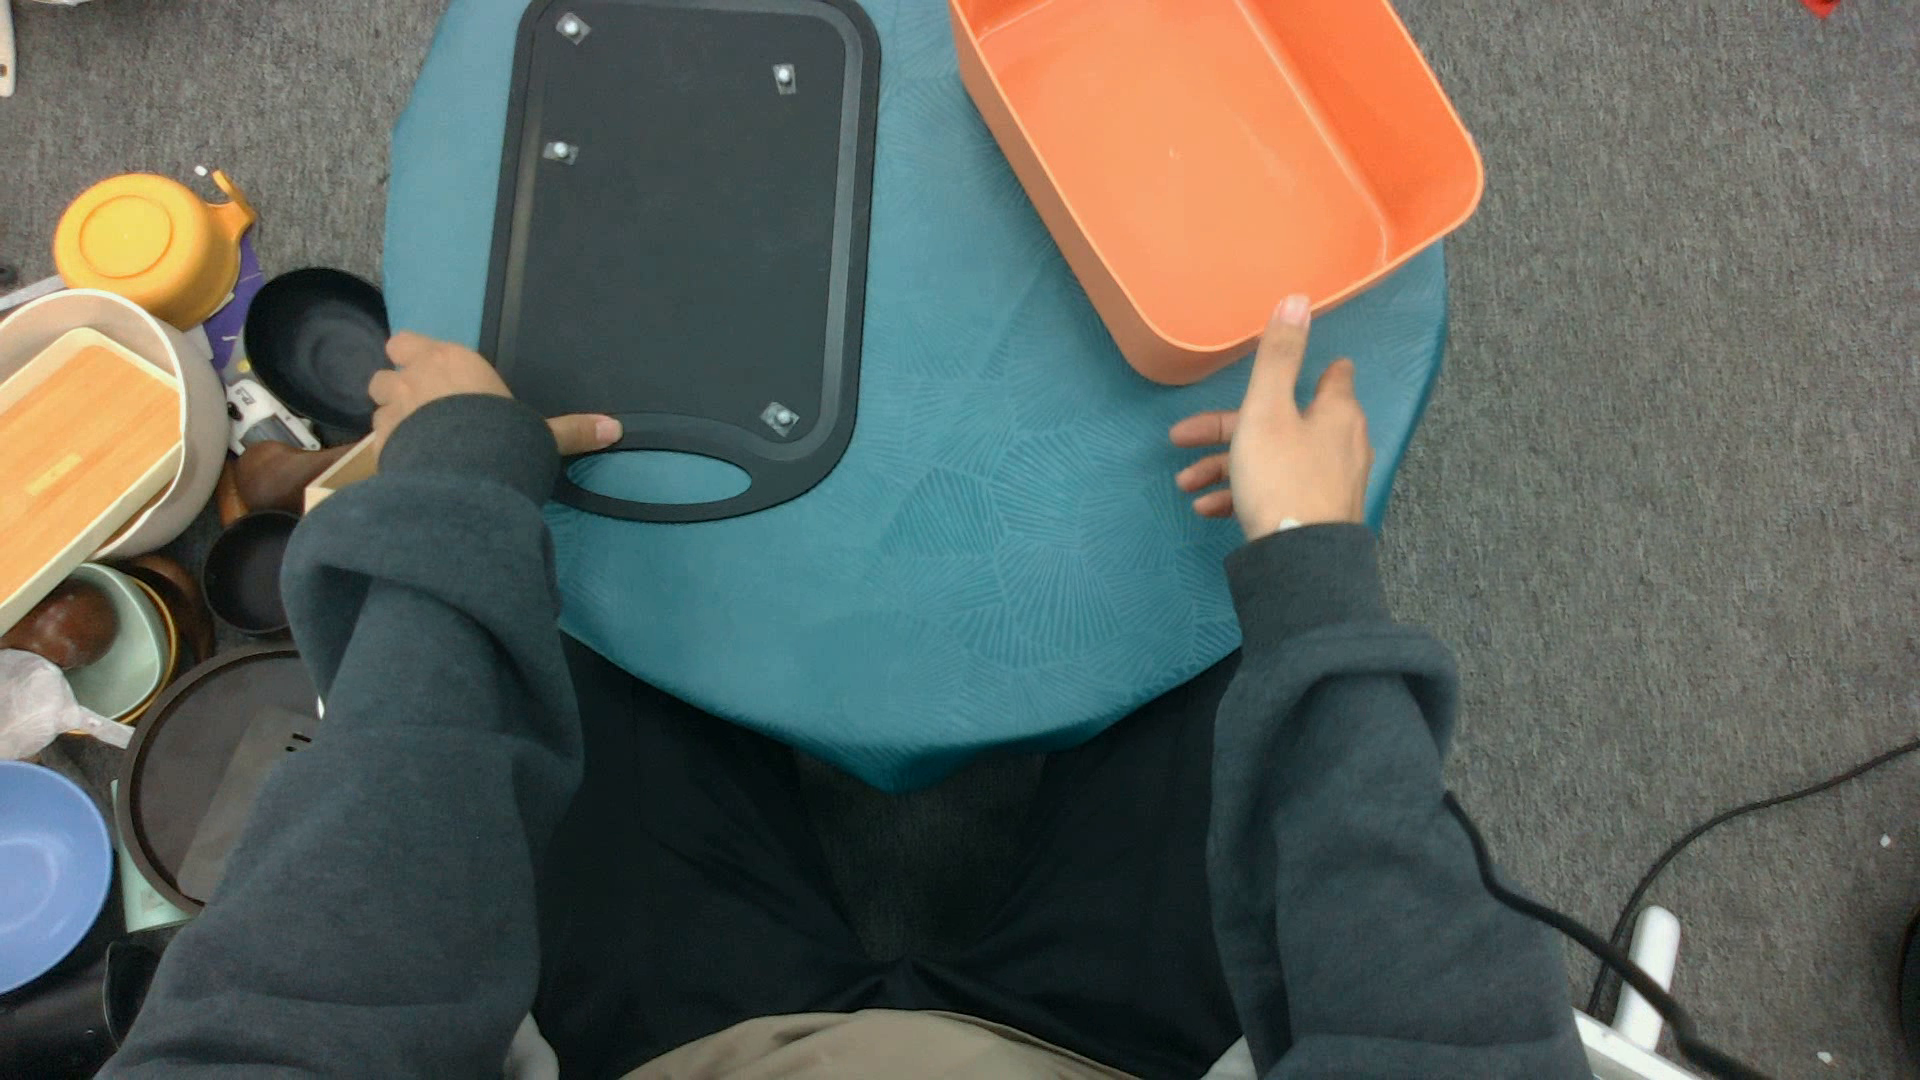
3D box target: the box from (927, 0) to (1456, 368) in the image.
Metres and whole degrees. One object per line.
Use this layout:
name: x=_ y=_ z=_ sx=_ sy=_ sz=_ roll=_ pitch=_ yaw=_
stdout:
box: x=0.111 y=-0.237 z=0.741 sx=0.199 sy=0.102 sz=0.273 roll=-29 pitch=81 yaw=-7

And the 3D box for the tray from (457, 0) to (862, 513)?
tray: x=-0.165 y=-0.174 z=0.771 sx=0.211 sy=0.010 sz=0.326 roll=3 pitch=79 yaw=-1
